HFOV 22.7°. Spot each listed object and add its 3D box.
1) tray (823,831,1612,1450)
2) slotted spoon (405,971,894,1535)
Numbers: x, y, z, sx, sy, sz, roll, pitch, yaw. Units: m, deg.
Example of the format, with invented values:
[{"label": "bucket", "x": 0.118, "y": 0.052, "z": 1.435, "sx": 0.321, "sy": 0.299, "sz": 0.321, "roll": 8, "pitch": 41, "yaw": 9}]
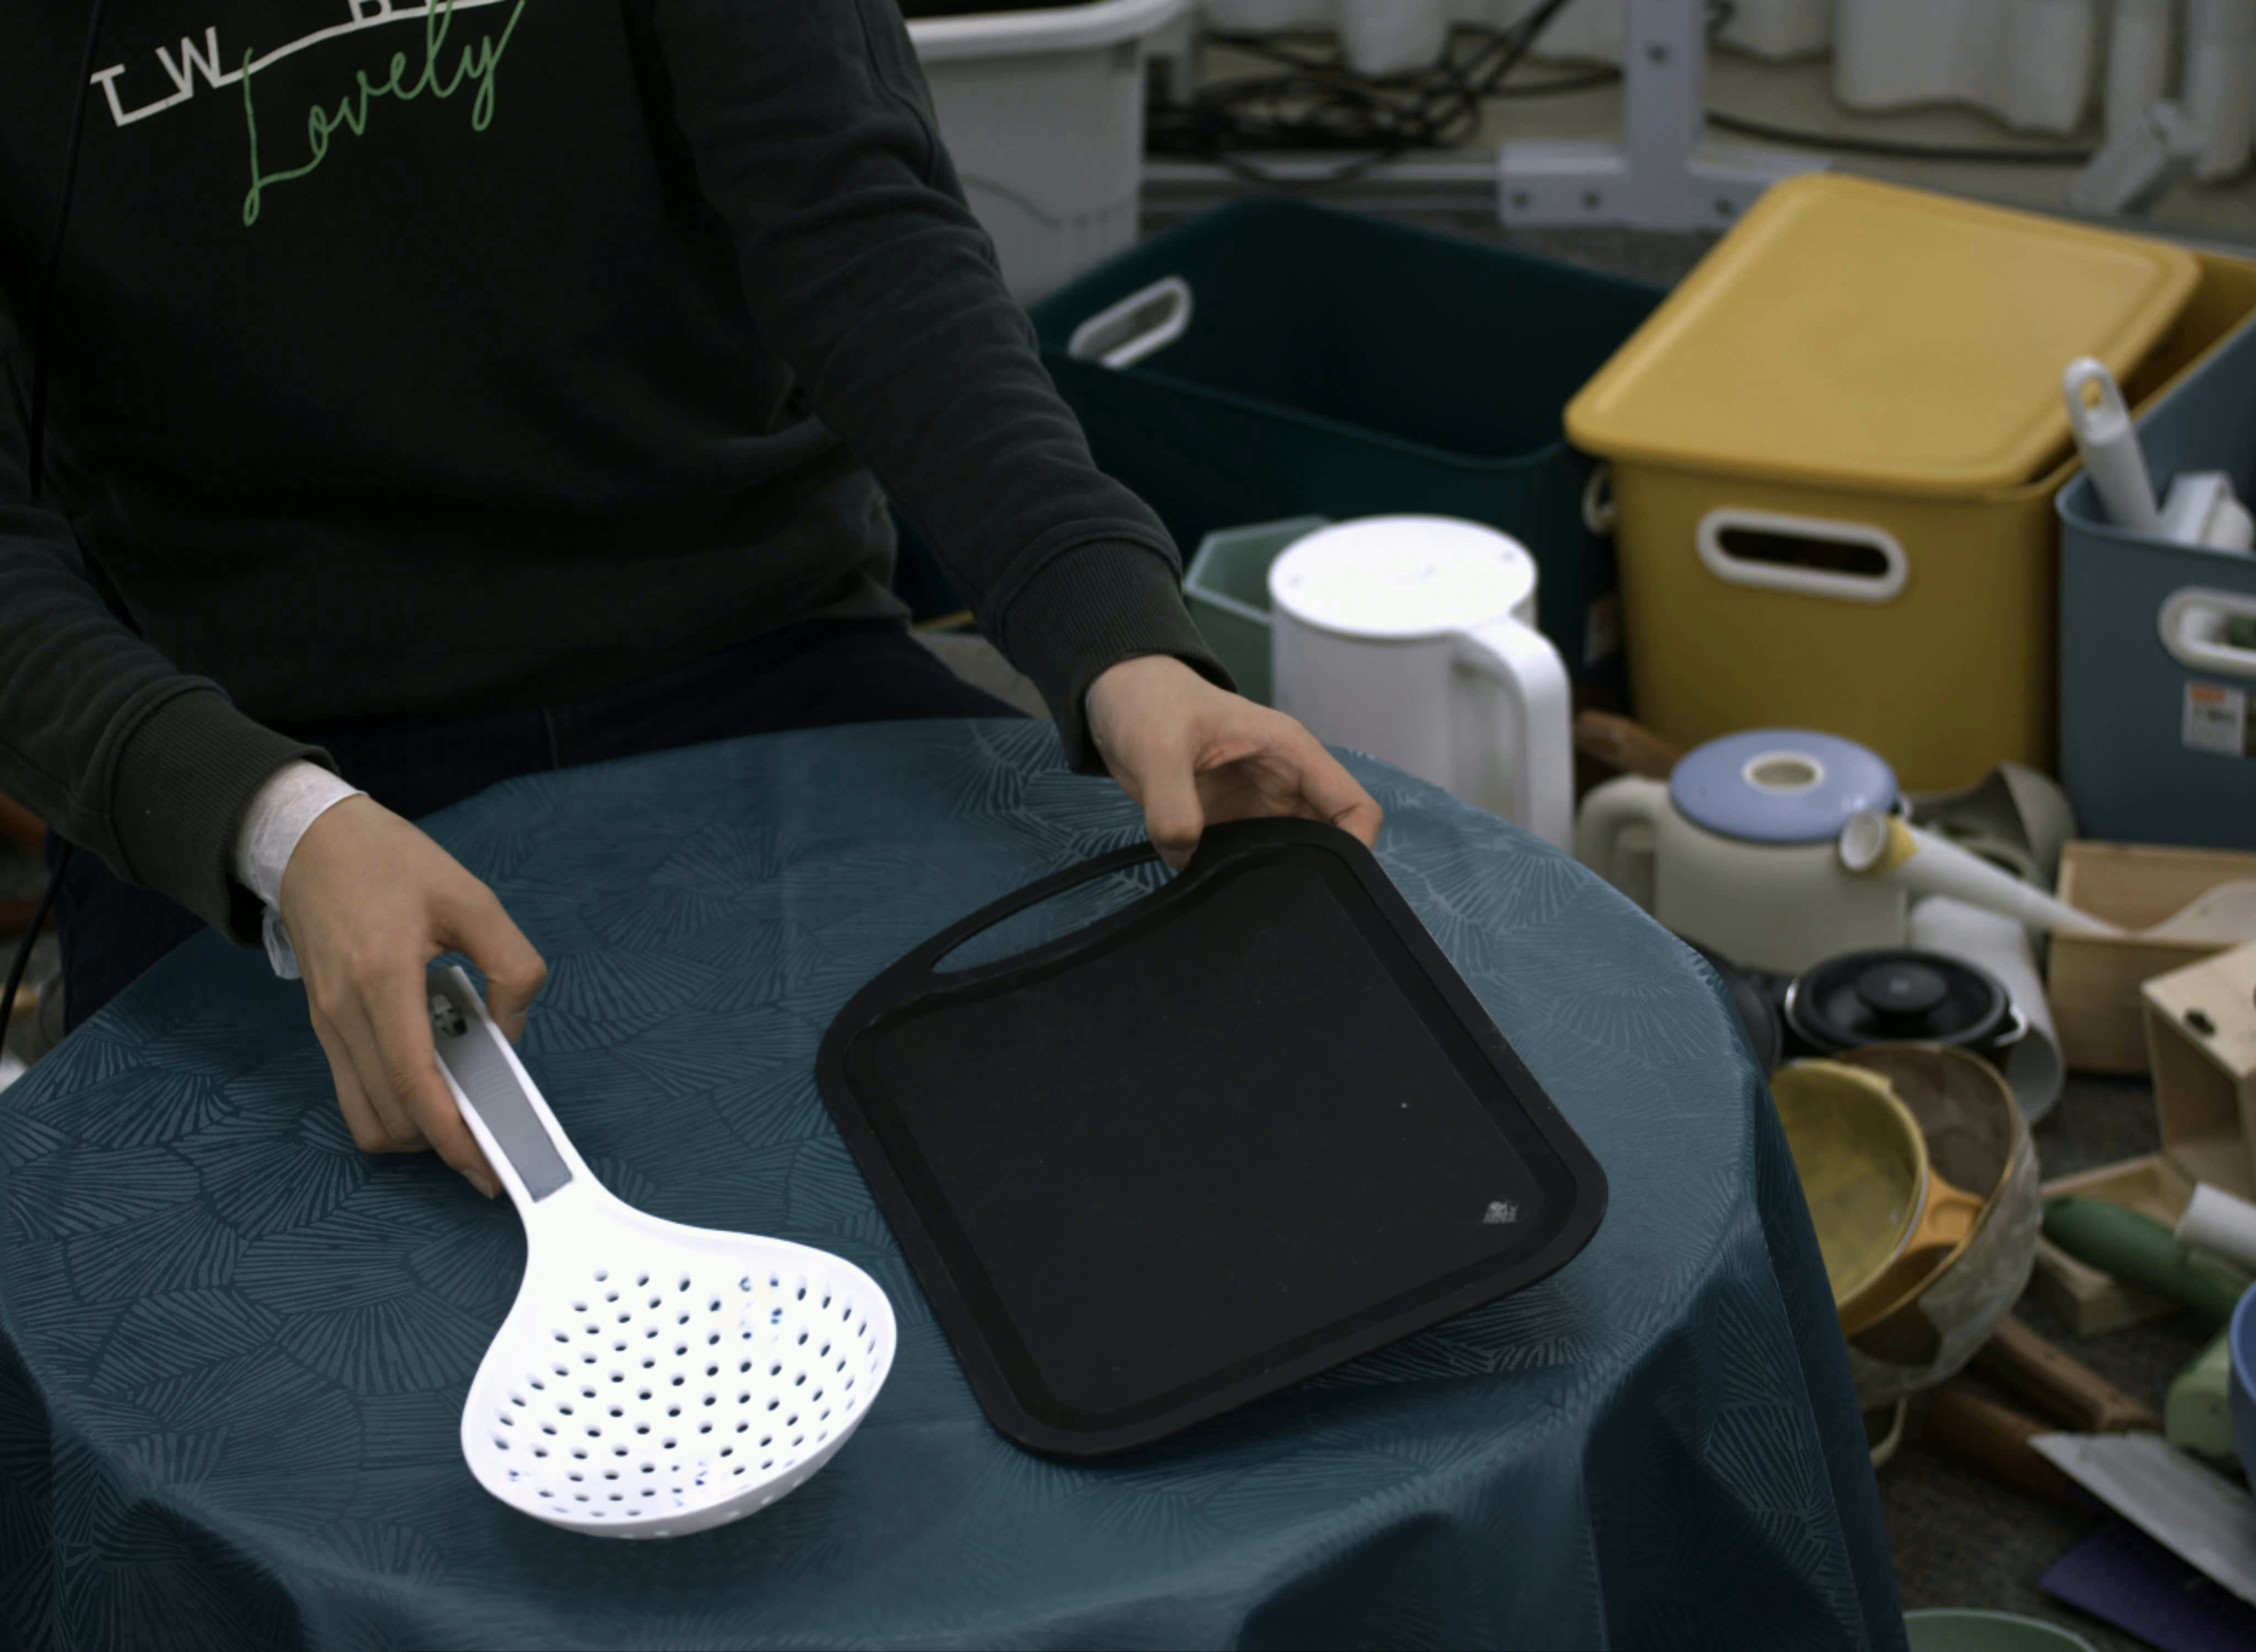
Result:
[{"label": "tray", "x": 0.019, "y": 0.093, "z": 1.858, "sx": 0.211, "sy": 0.009, "sz": 0.328, "roll": -21, "pitch": 30, "yaw": -8}, {"label": "slotted spoon", "x": -0.175, "y": 0.129, "z": 1.795, "sx": 0.136, "sy": 0.045, "sz": 0.353, "roll": -21, "pitch": 35, "yaw": -14}]
